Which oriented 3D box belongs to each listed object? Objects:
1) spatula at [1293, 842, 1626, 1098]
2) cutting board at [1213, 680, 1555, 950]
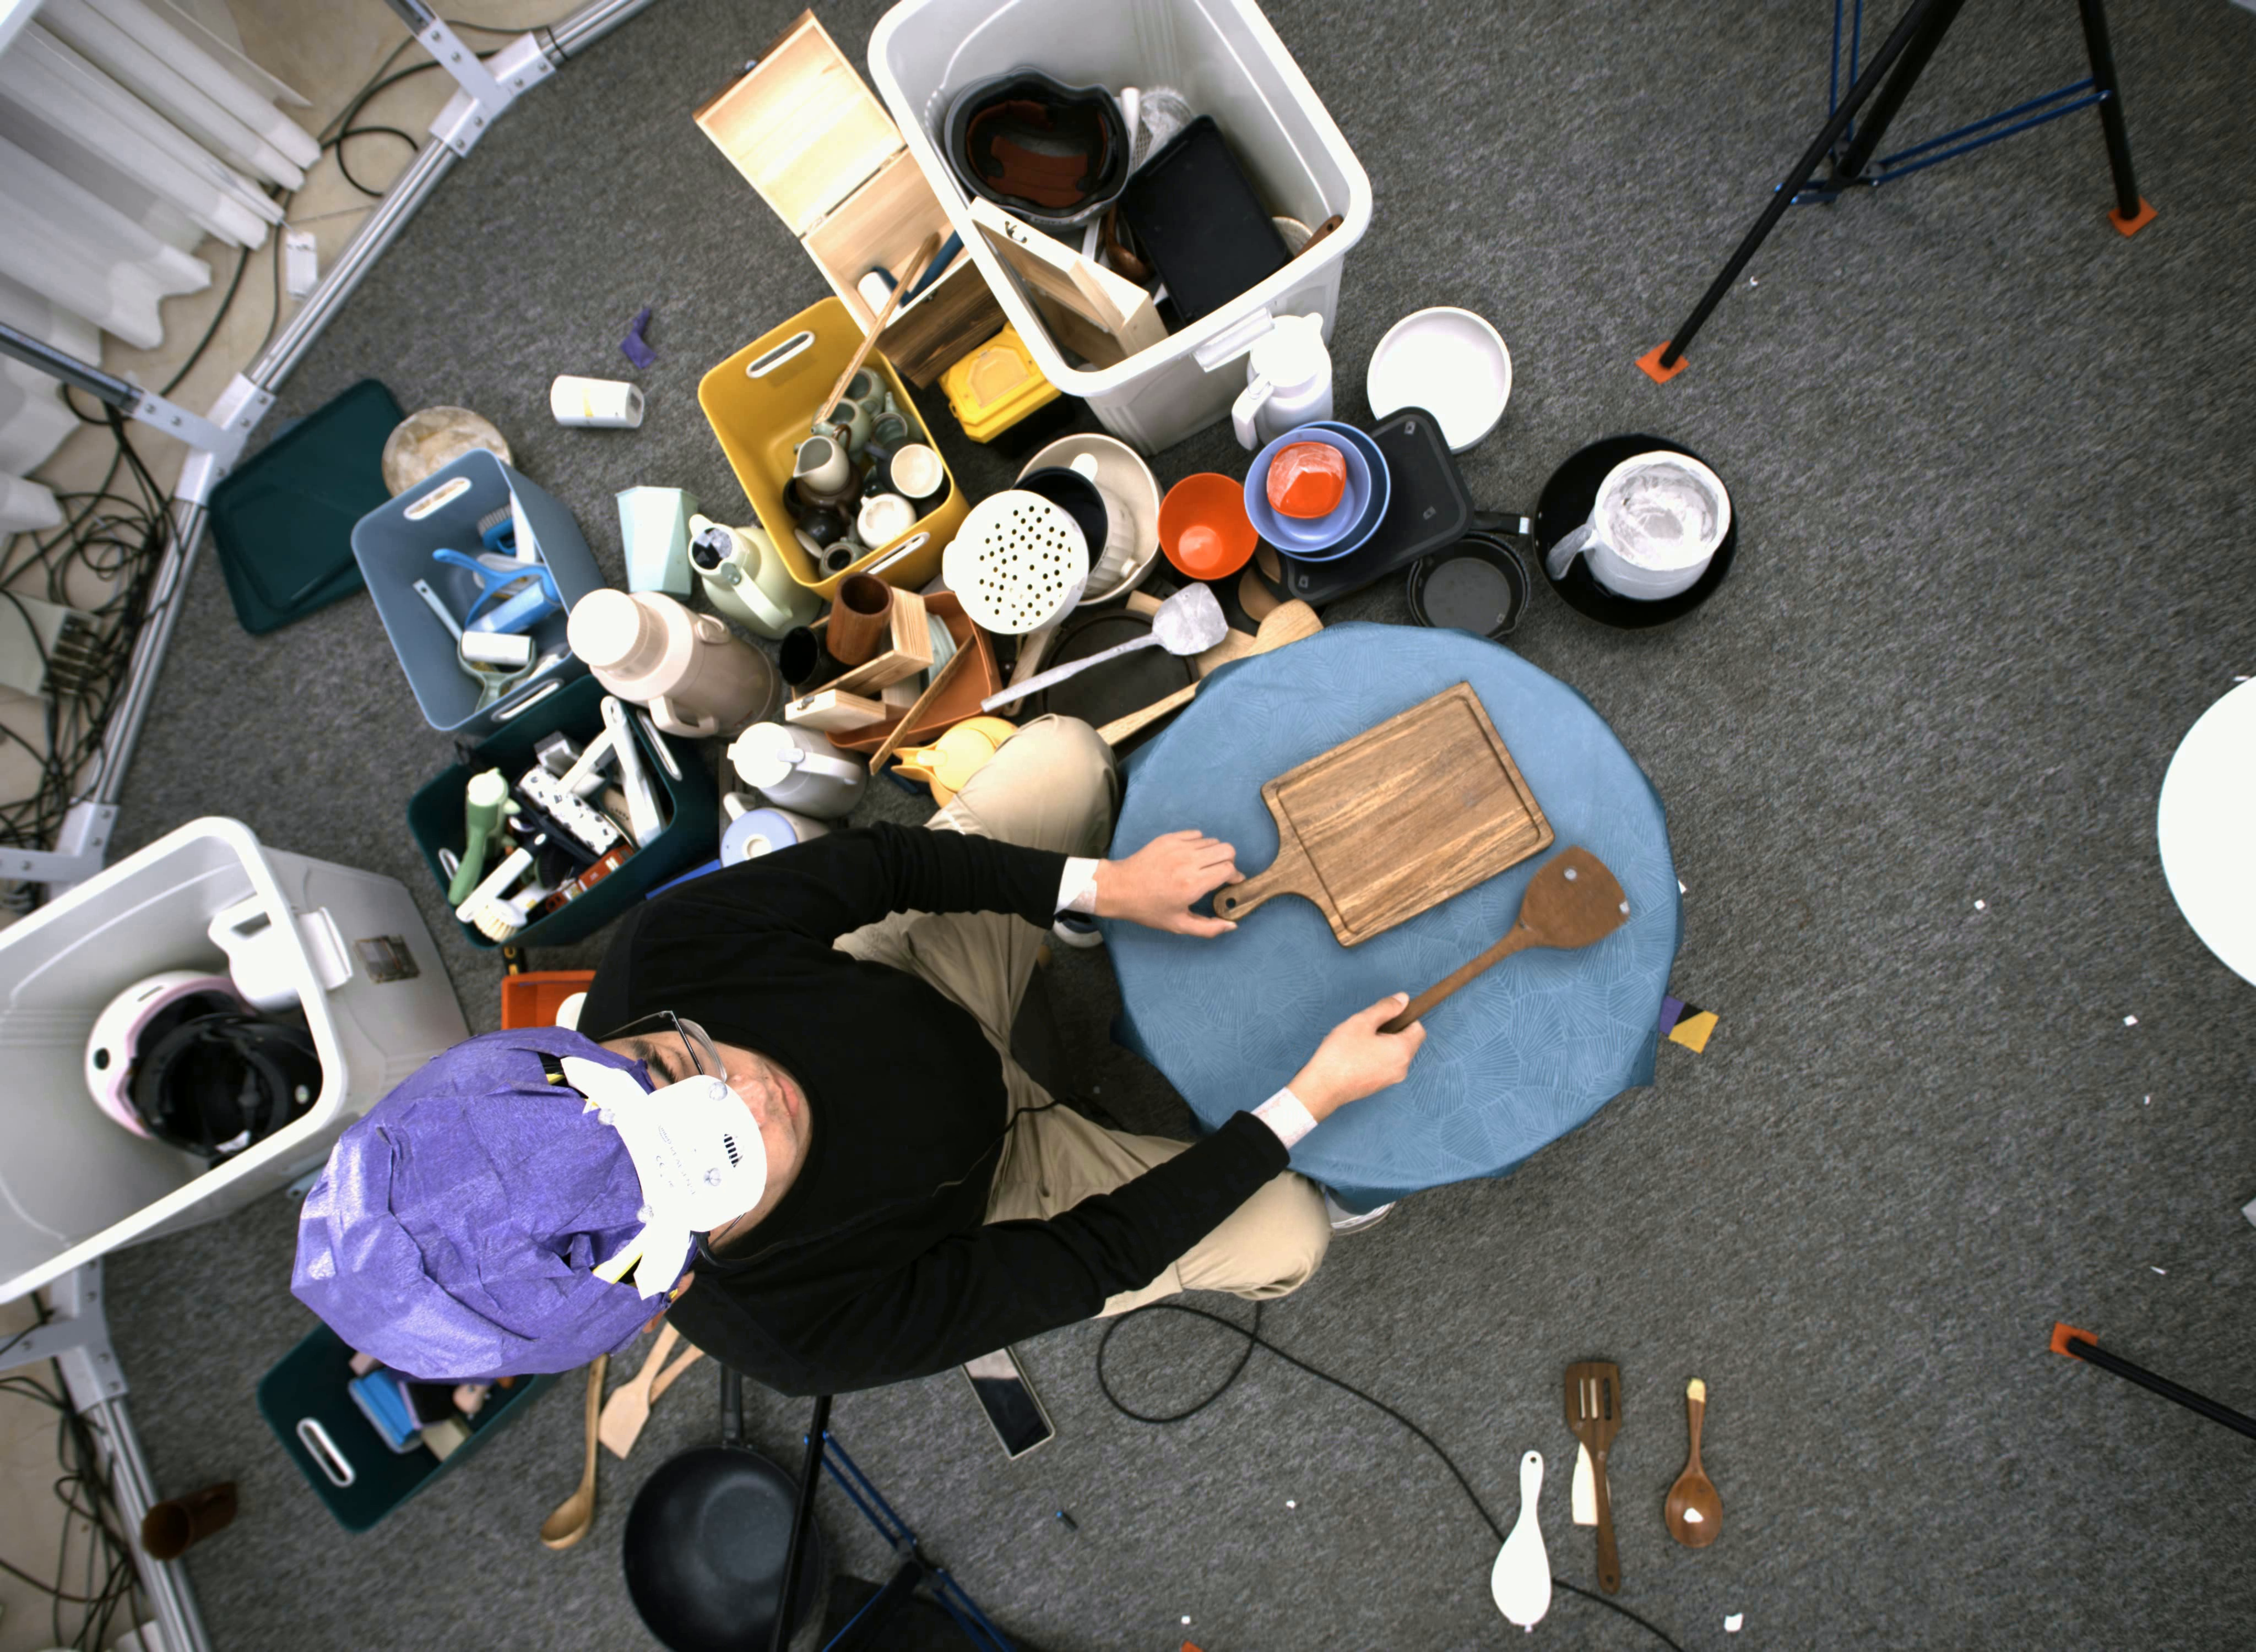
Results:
[{"bbox_3d":[0.323,0.154,1.382,0.387,0.016,0.095,-36,72,5],"label":"spatula"},{"bbox_3d":[0.246,0.009,1.446,0.353,0.023,0.200,-28,82,4],"label":"cutting board"}]
